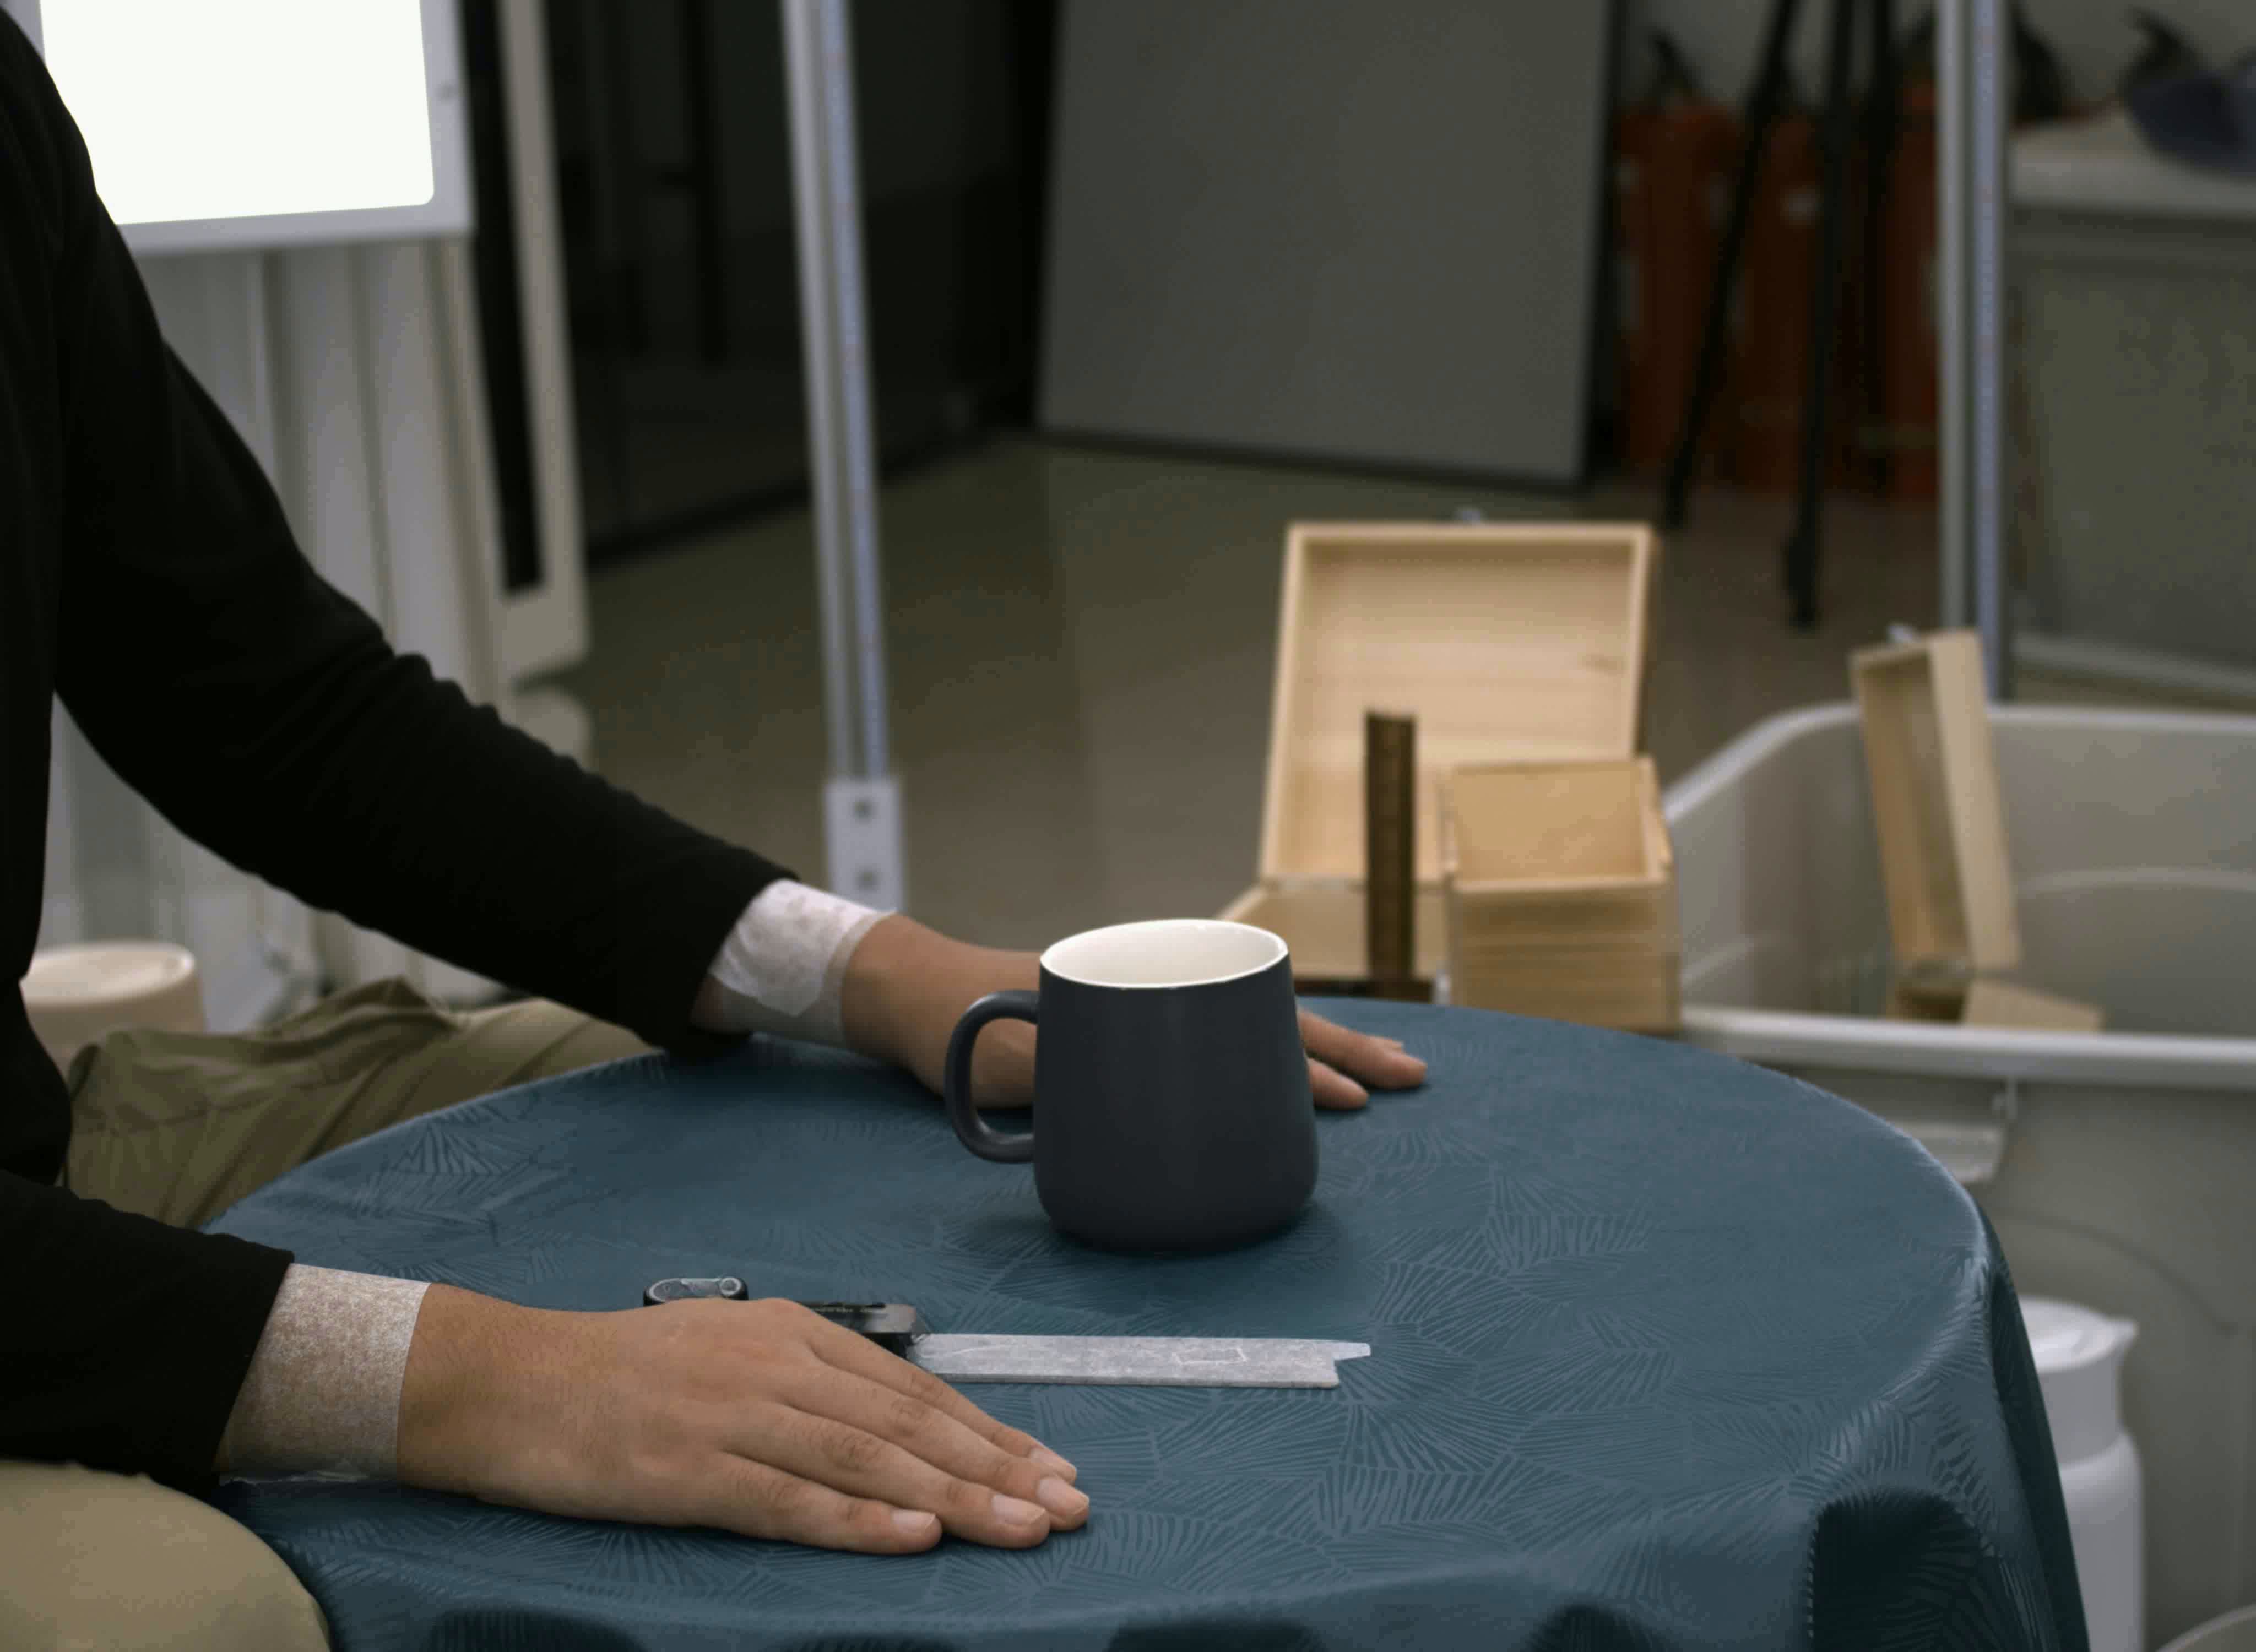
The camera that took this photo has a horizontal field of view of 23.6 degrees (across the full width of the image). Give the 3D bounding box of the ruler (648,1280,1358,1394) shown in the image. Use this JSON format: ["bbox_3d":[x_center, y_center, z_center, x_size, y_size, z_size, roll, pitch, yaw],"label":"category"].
[{"bbox_3d":[-0.040,0.151,1.613,0.217,0.024,0.038,-2,20,15],"label":"ruler"}]

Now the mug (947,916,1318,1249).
[{"bbox_3d":[0.000,0.081,1.735,0.123,0.091,0.092,2,14,19],"label":"mug"}]
